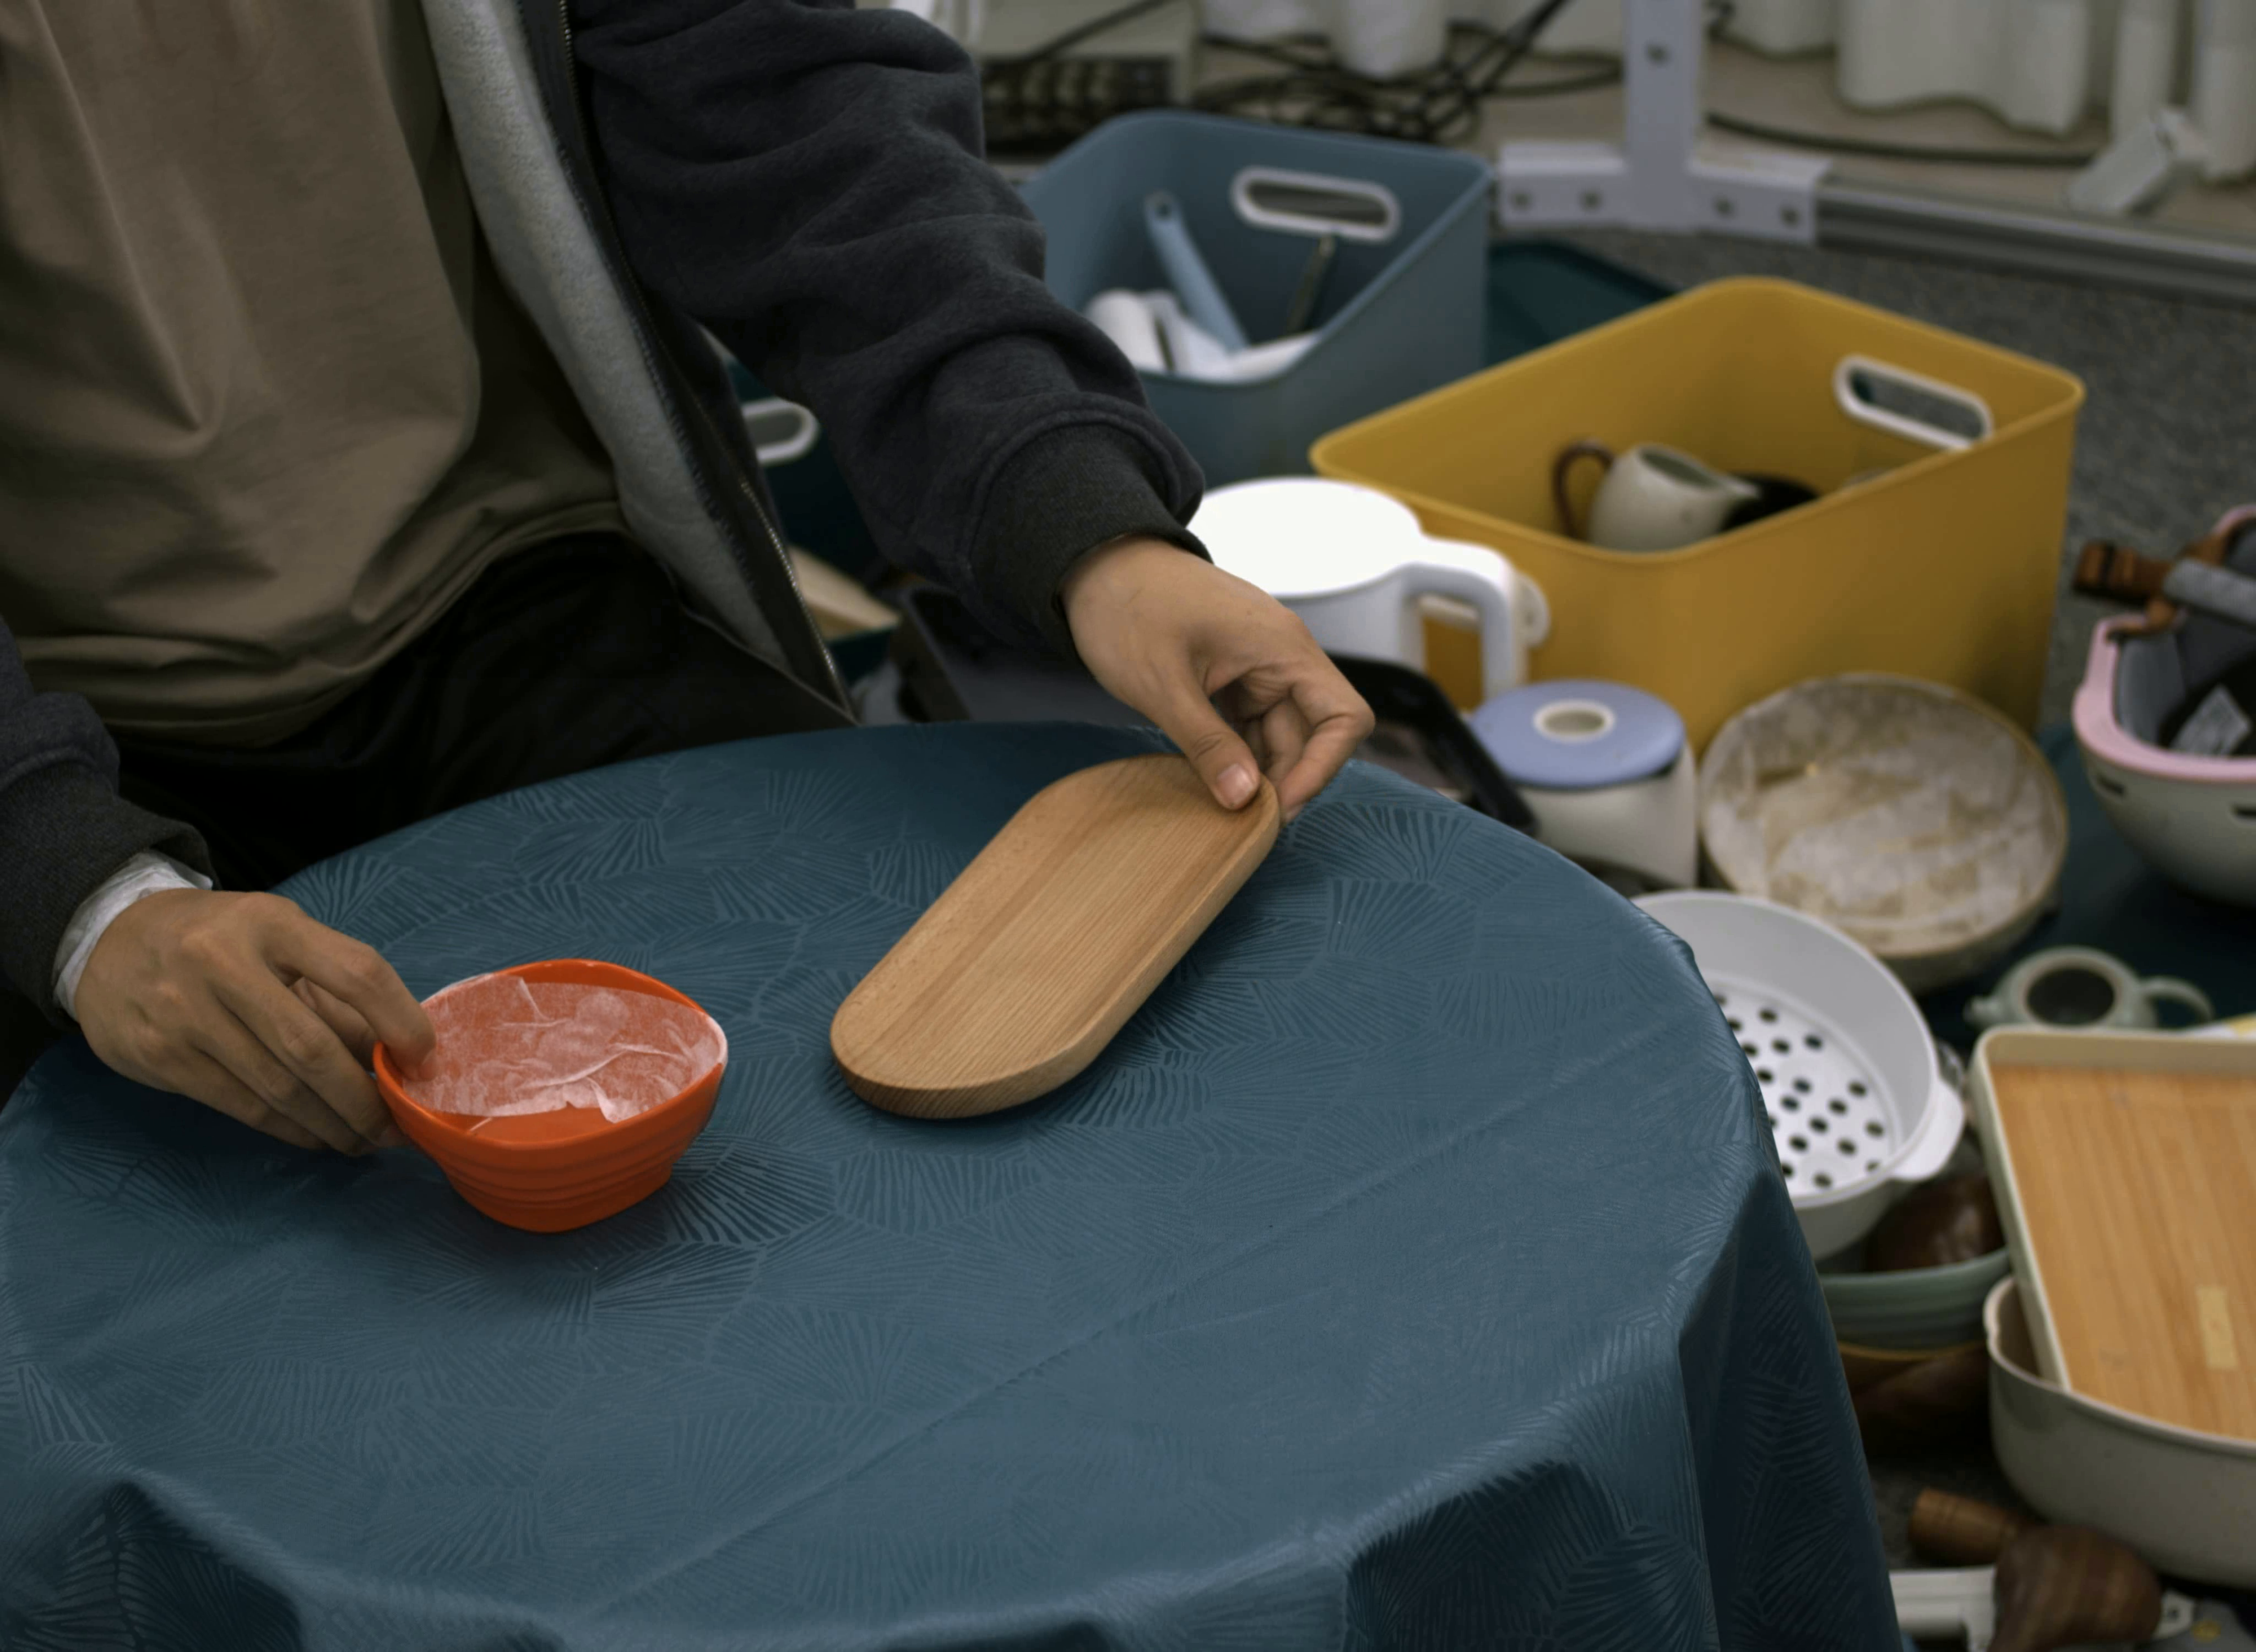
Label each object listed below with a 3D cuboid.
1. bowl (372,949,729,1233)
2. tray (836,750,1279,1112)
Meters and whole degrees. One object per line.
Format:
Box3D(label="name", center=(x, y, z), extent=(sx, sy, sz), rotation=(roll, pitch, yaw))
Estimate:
Box3D(label="bowl", center=(-0.191, 0.093, 1.873), extent=(0.118, 0.051, 0.121), rotation=(0, 31, 0))
Box3D(label="tray", center=(-0.023, 0.035, 1.994), extent=(0.101, 0.020, 0.235), rotation=(4, 30, 27))
